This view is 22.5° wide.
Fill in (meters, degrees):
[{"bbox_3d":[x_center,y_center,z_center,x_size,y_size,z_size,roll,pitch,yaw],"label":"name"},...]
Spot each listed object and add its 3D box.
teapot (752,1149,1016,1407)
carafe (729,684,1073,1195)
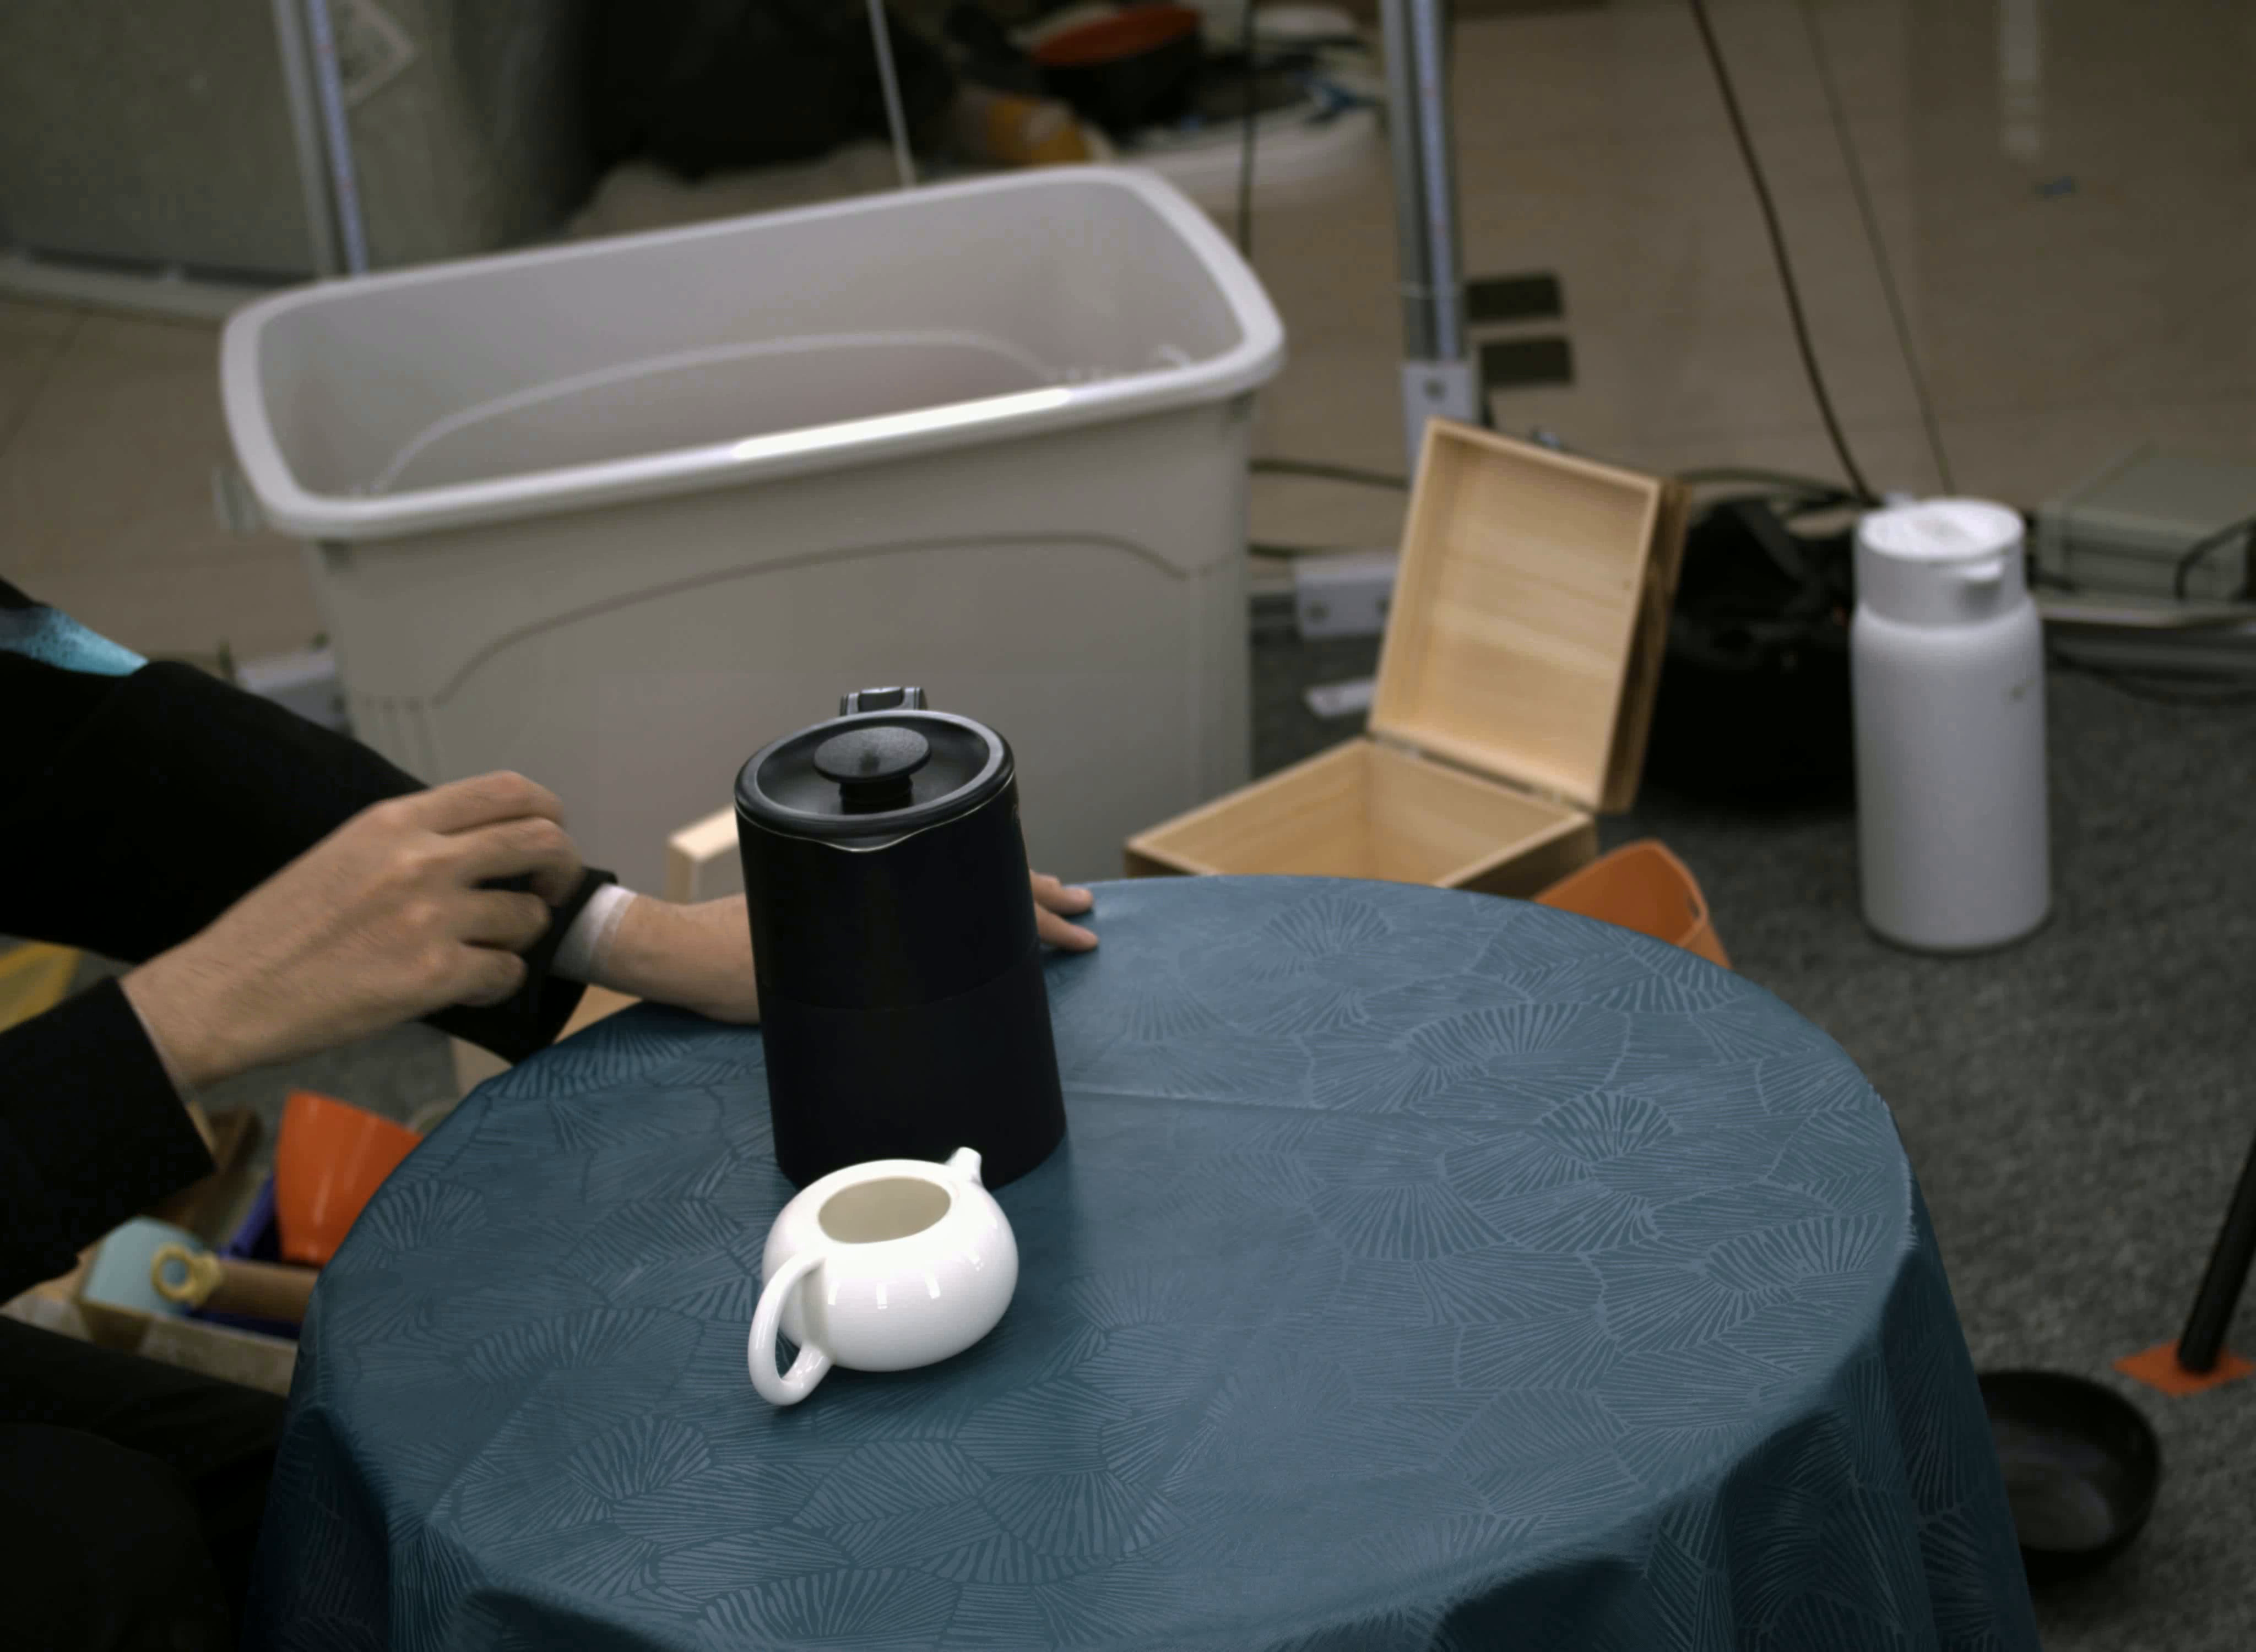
[{"bbox_3d":[-0.093,0.165,2.047,0.093,0.057,0.126,14,33,30],"label":"teapot"},{"bbox_3d":[-0.089,0.036,2.182,0.114,0.176,0.169,-7,28,2],"label":"carafe"}]
